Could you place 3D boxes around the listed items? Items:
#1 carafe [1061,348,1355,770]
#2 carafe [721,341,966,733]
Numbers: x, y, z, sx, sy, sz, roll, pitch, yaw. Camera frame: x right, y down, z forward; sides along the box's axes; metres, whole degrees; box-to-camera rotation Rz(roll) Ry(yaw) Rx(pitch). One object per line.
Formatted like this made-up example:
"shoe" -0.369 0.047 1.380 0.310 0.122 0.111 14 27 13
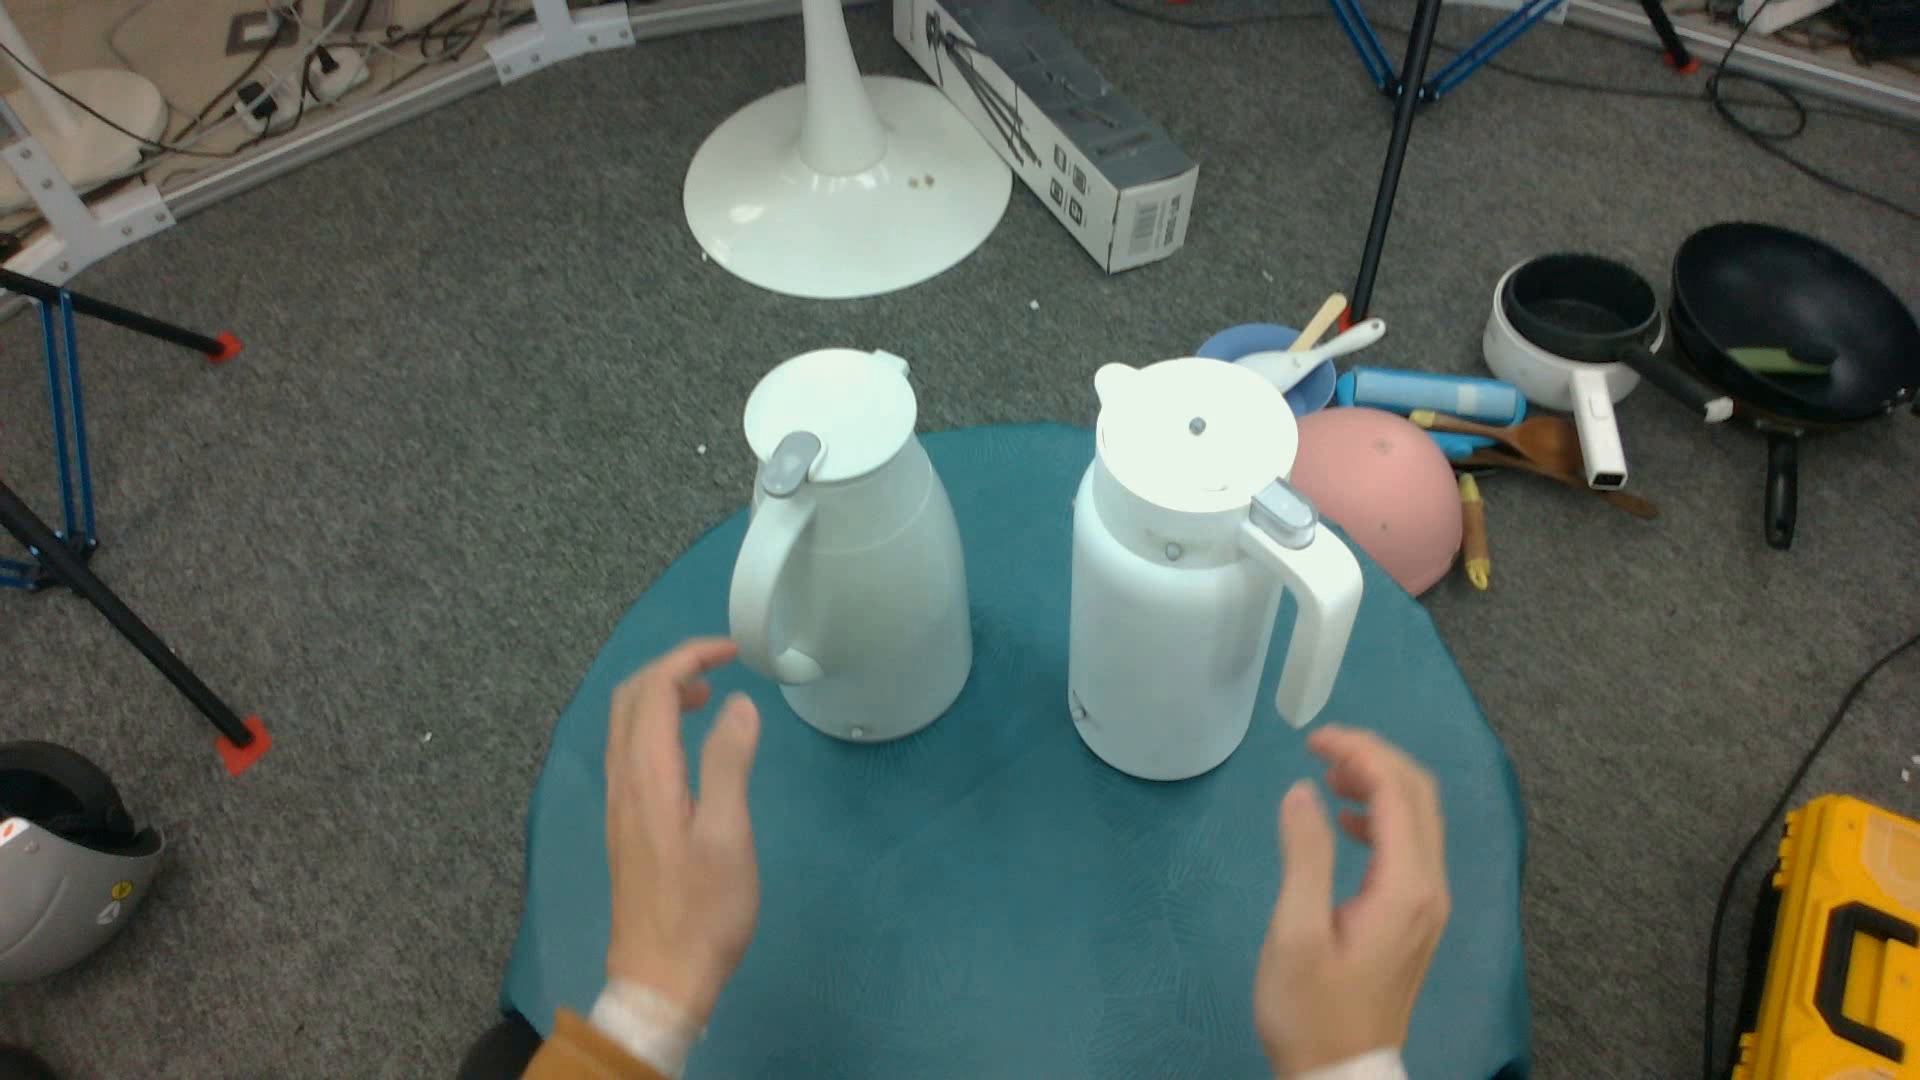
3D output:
"carafe" 0.130 0.030 0.771 0.124 0.267 0.173 -34 59 -23
"carafe" -0.076 0.012 0.804 0.132 0.247 0.168 22 58 18
